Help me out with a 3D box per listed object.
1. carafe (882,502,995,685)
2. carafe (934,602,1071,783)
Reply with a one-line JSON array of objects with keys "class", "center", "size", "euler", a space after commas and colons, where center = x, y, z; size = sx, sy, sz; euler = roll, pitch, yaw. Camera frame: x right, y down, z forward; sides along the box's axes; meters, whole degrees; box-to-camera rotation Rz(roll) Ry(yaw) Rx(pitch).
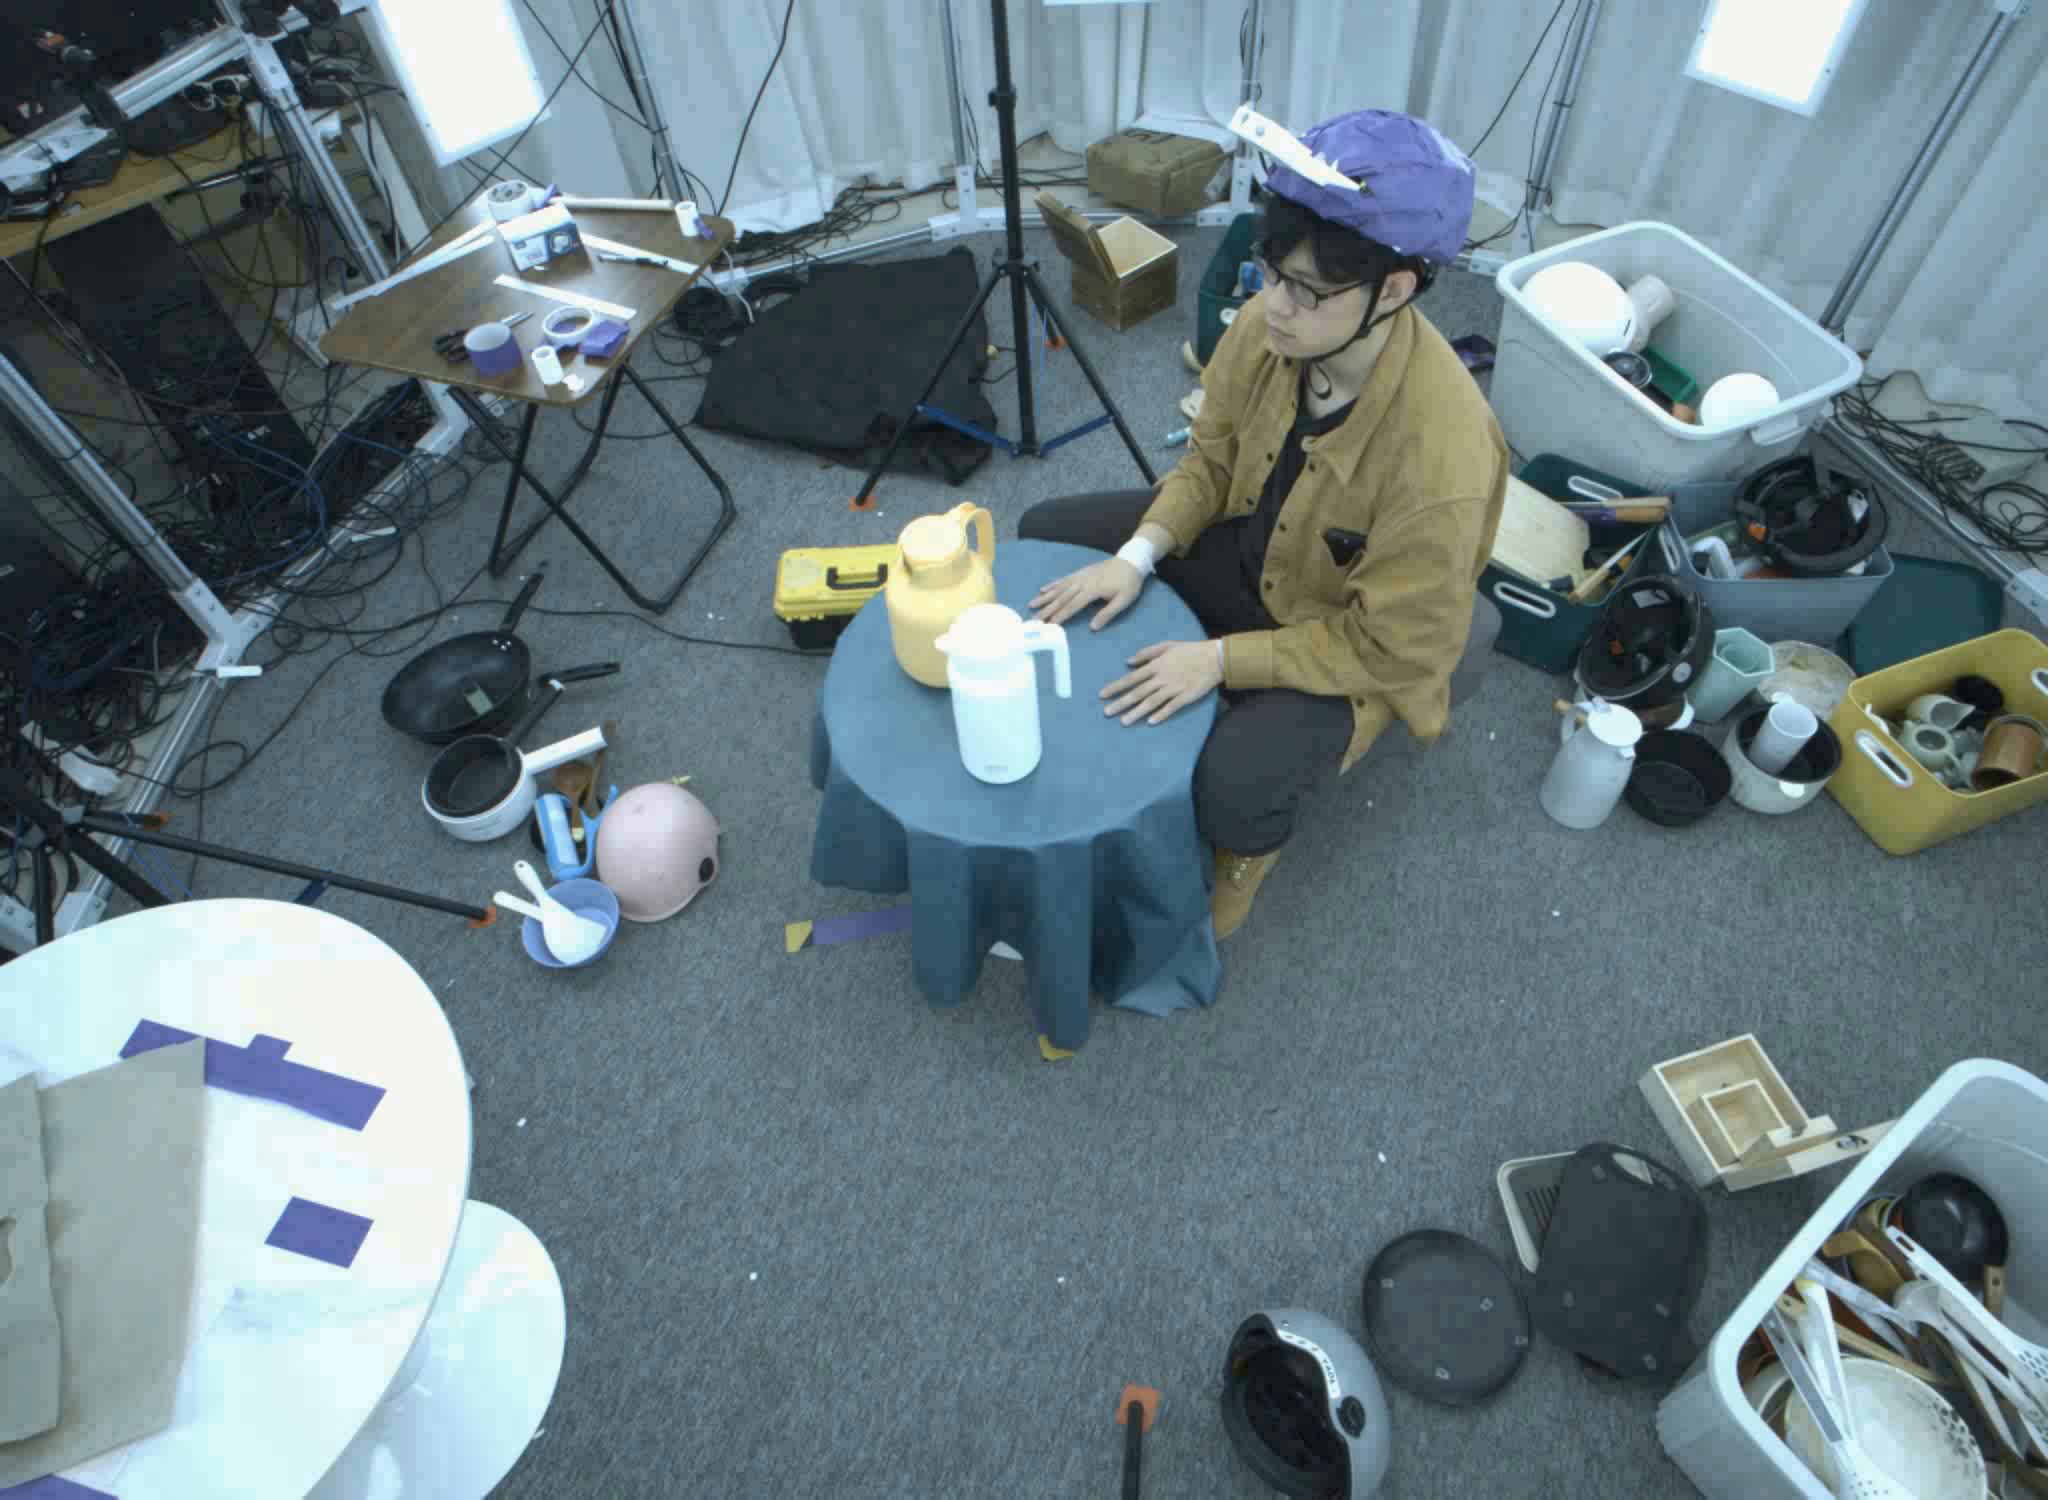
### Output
[{"class": "carafe", "center": [-0.112, -0.236, 1.793], "size": [0.161, 0.263, 0.203], "euler": [31, 63, 20]}, {"class": "carafe", "center": [-0.024, -0.078, 1.674], "size": [0.173, 0.272, 0.122], "euler": [-9, 52, -3]}]
